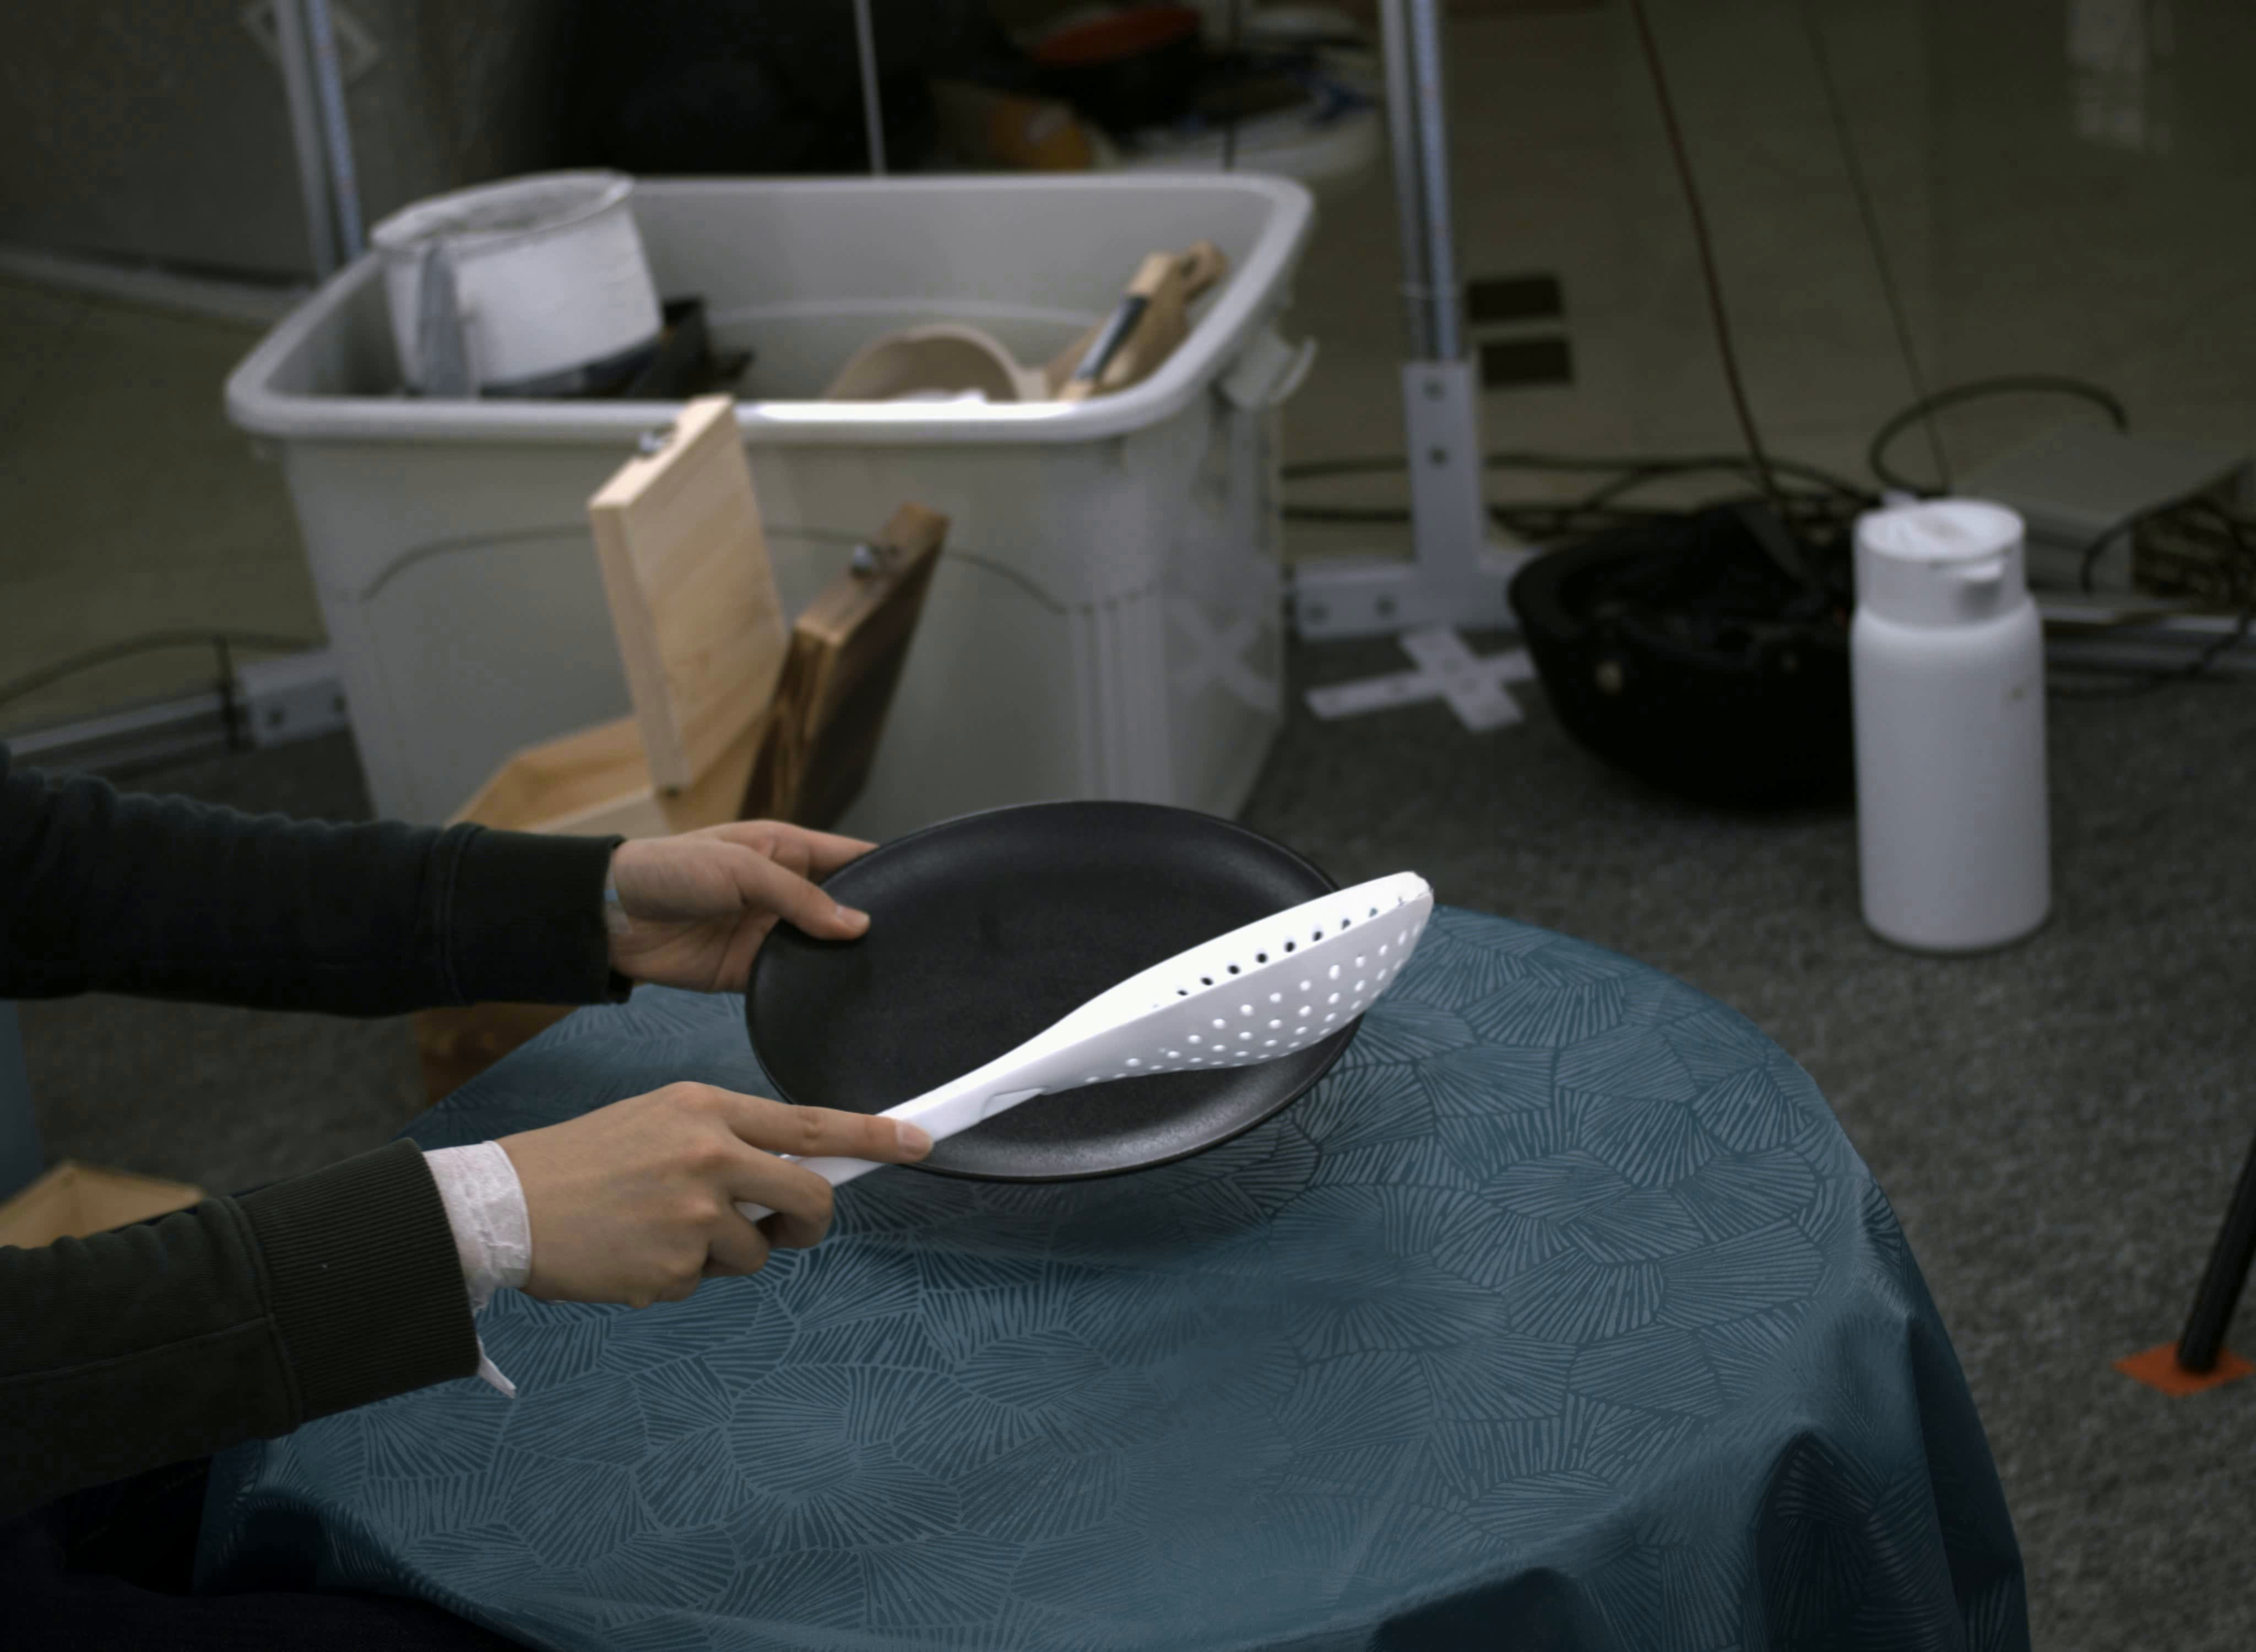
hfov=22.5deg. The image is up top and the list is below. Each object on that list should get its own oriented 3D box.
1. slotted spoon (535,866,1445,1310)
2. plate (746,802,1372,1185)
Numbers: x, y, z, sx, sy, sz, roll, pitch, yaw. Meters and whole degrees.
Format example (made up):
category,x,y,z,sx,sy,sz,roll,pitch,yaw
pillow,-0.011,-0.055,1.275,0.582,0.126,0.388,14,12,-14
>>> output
category,x,y,z,sx,sy,sz,roll,pitch,yaw
slotted spoon,-0.043,0.089,1.942,0.348,0.046,0.136,-19,2,-19
plate,-0.026,0.069,2.188,0.244,0.024,0.240,-3,36,2
